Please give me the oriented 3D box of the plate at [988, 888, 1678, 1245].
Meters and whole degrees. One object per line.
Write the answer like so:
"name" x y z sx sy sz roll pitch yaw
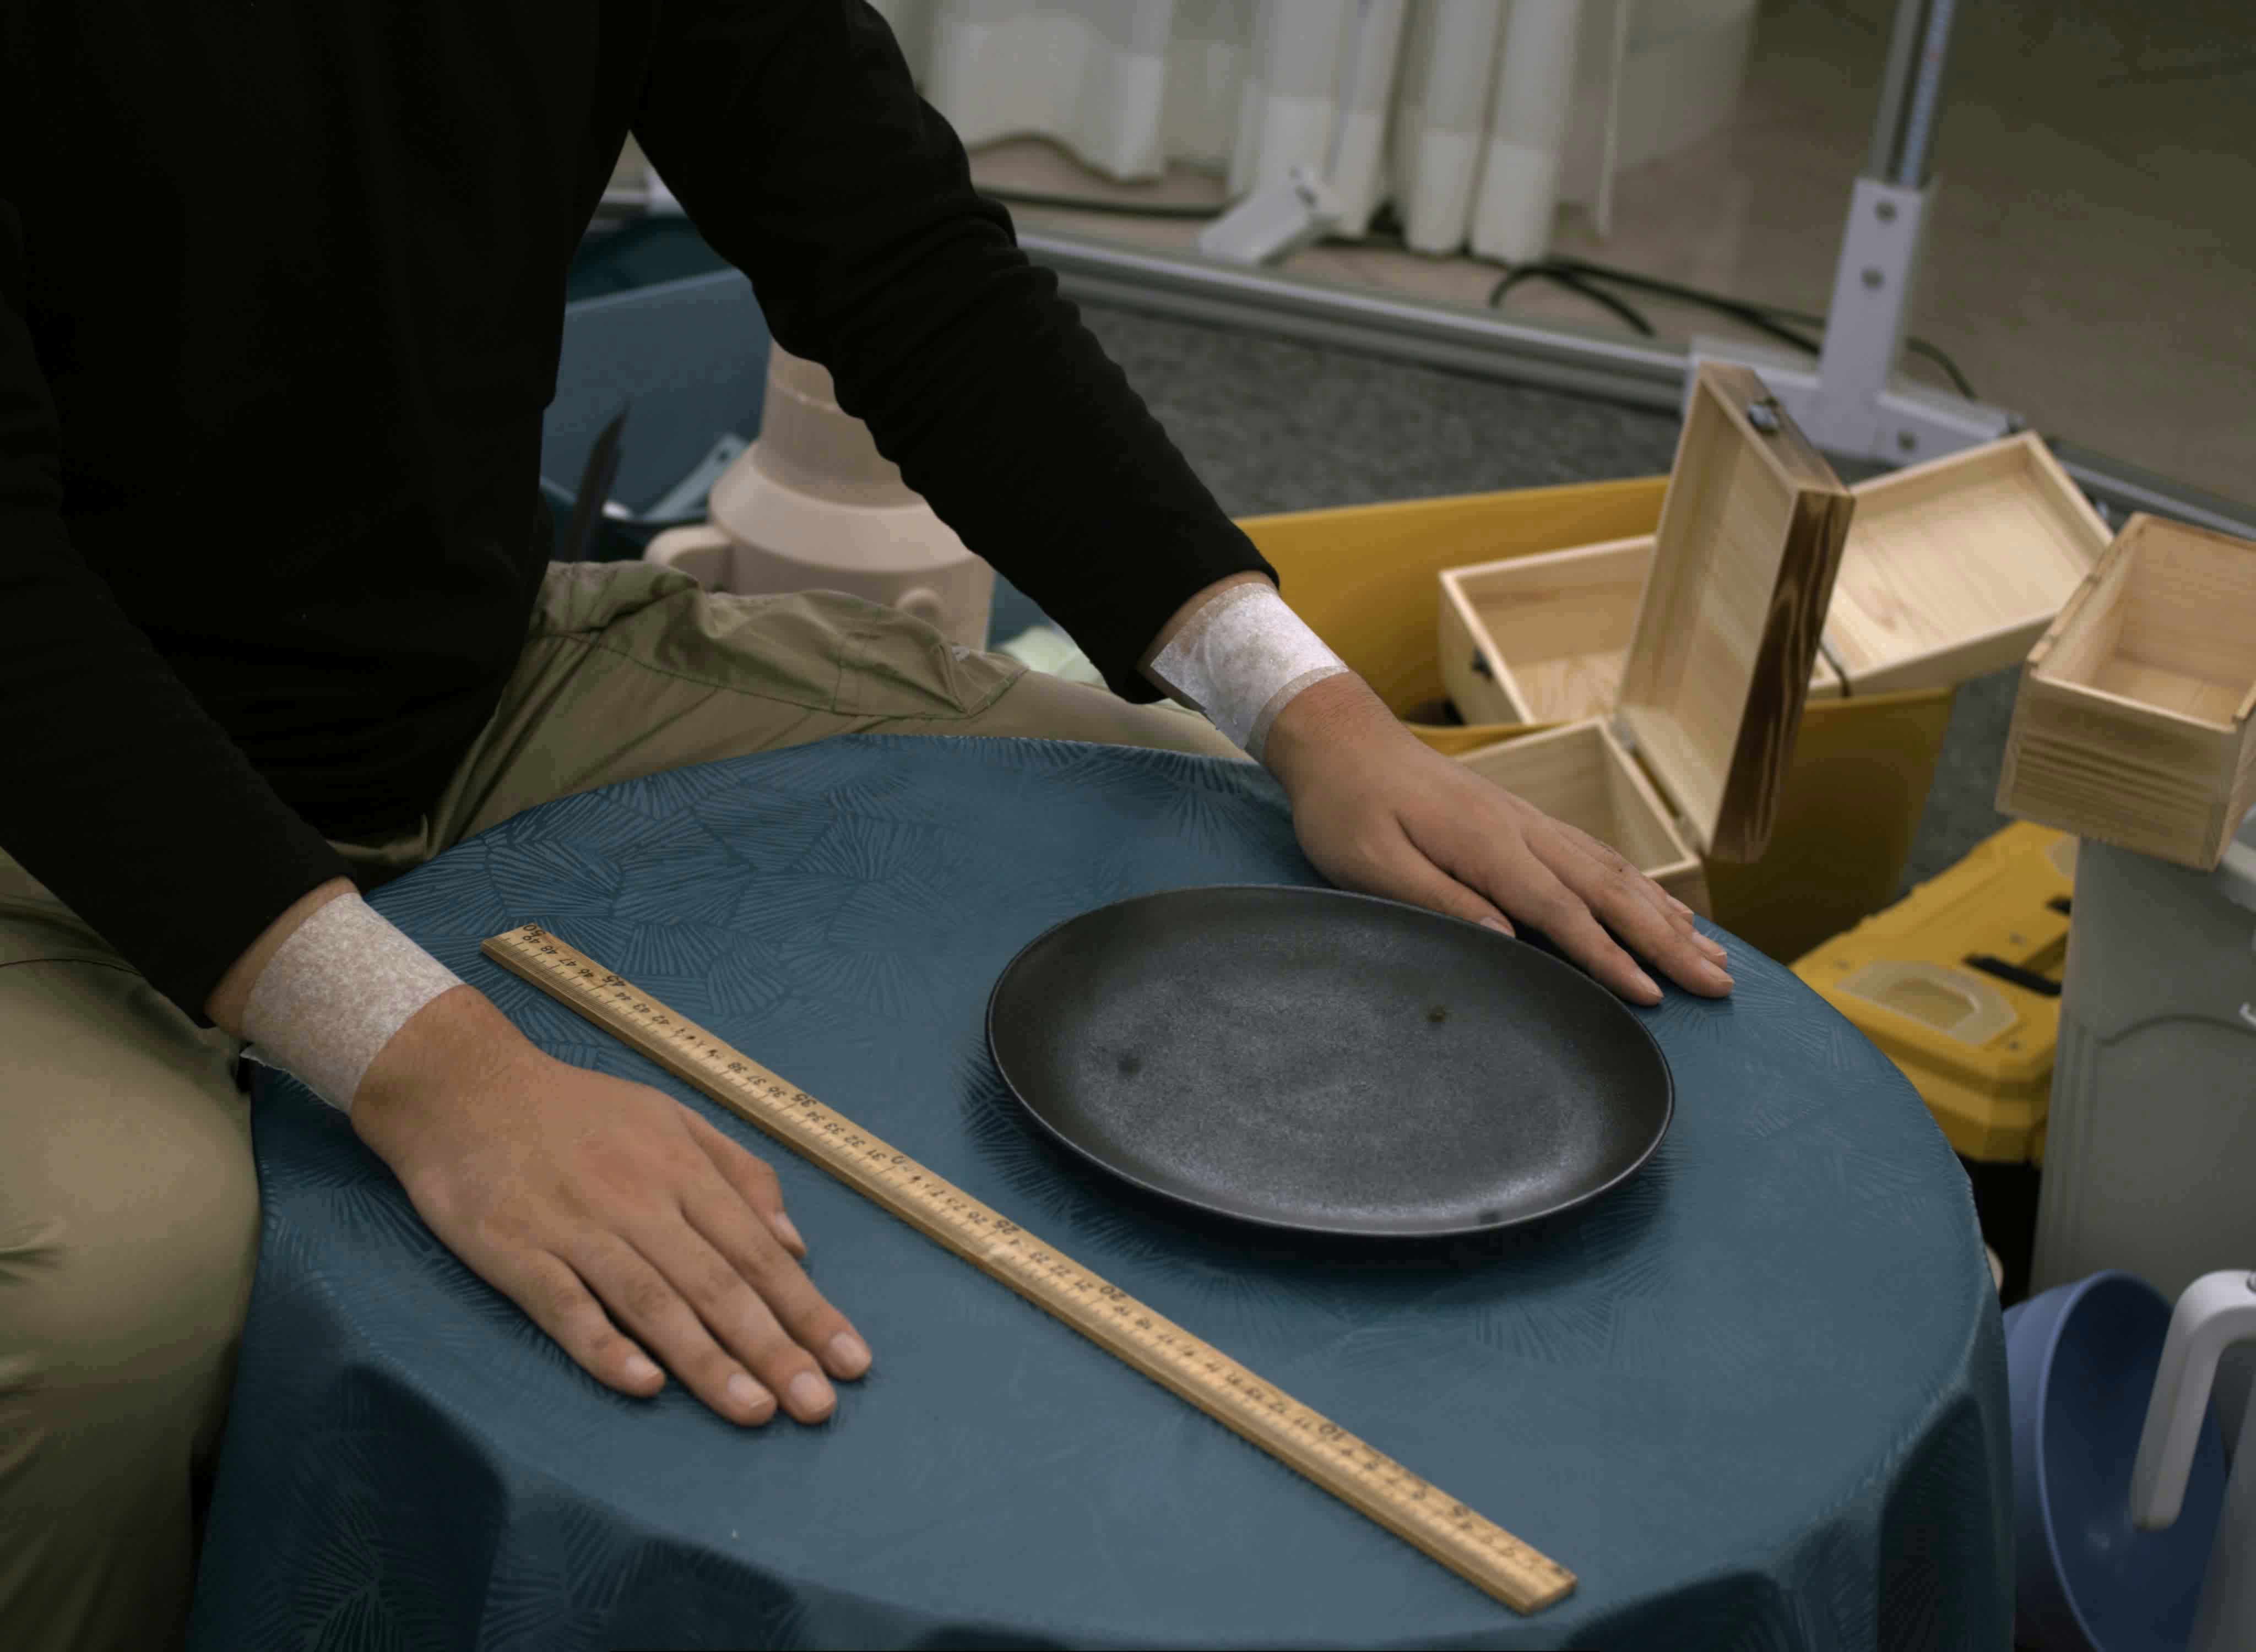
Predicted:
"plate" 0.071 0.087 1.863 0.243 0.023 0.246 5 27 -3

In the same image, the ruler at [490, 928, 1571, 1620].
"ruler" -0.046 0.137 1.759 0.026 0.006 0.504 -17 35 -42
